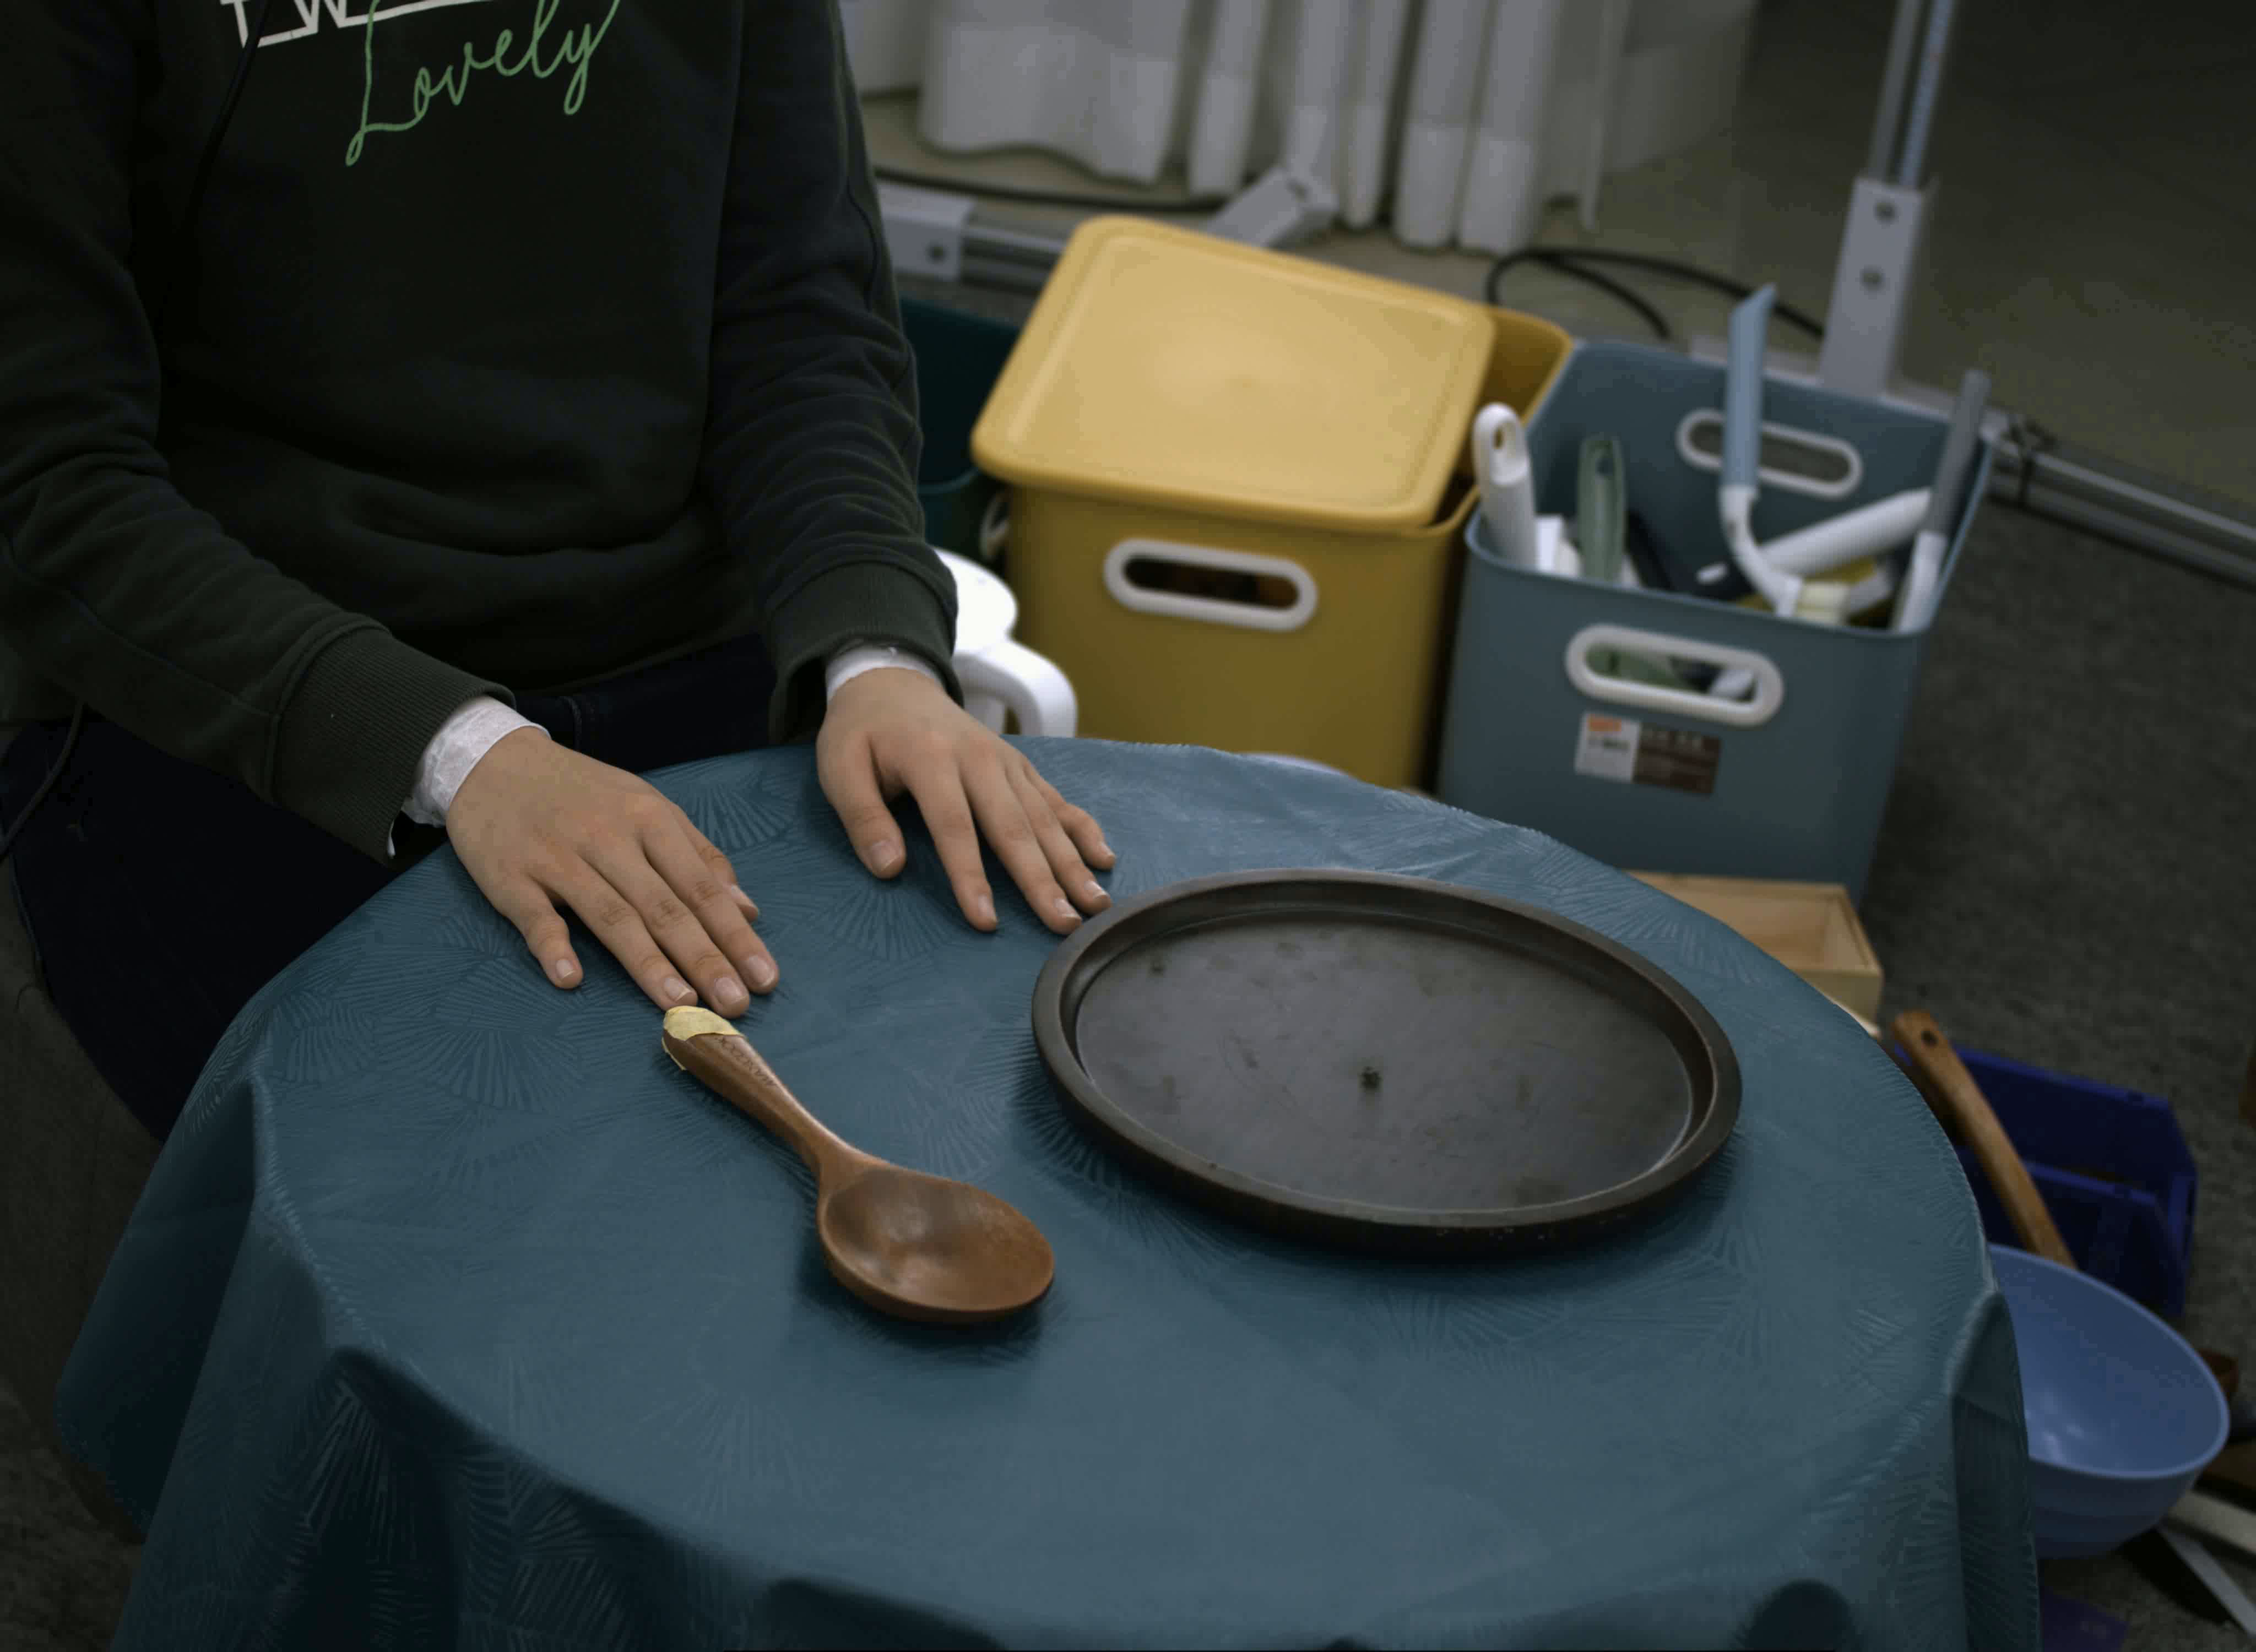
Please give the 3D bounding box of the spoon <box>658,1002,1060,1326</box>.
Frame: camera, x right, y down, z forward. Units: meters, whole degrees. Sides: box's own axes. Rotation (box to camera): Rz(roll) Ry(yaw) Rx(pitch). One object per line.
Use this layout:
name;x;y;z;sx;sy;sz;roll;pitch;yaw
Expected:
spoon;-0.098;0.113;1.780;0.075;0.017;0.218;-12;32;-32

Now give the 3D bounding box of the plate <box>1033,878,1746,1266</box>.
plate;0.091;0.084;1.875;0.254;0.029;0.256;6;28;-3
